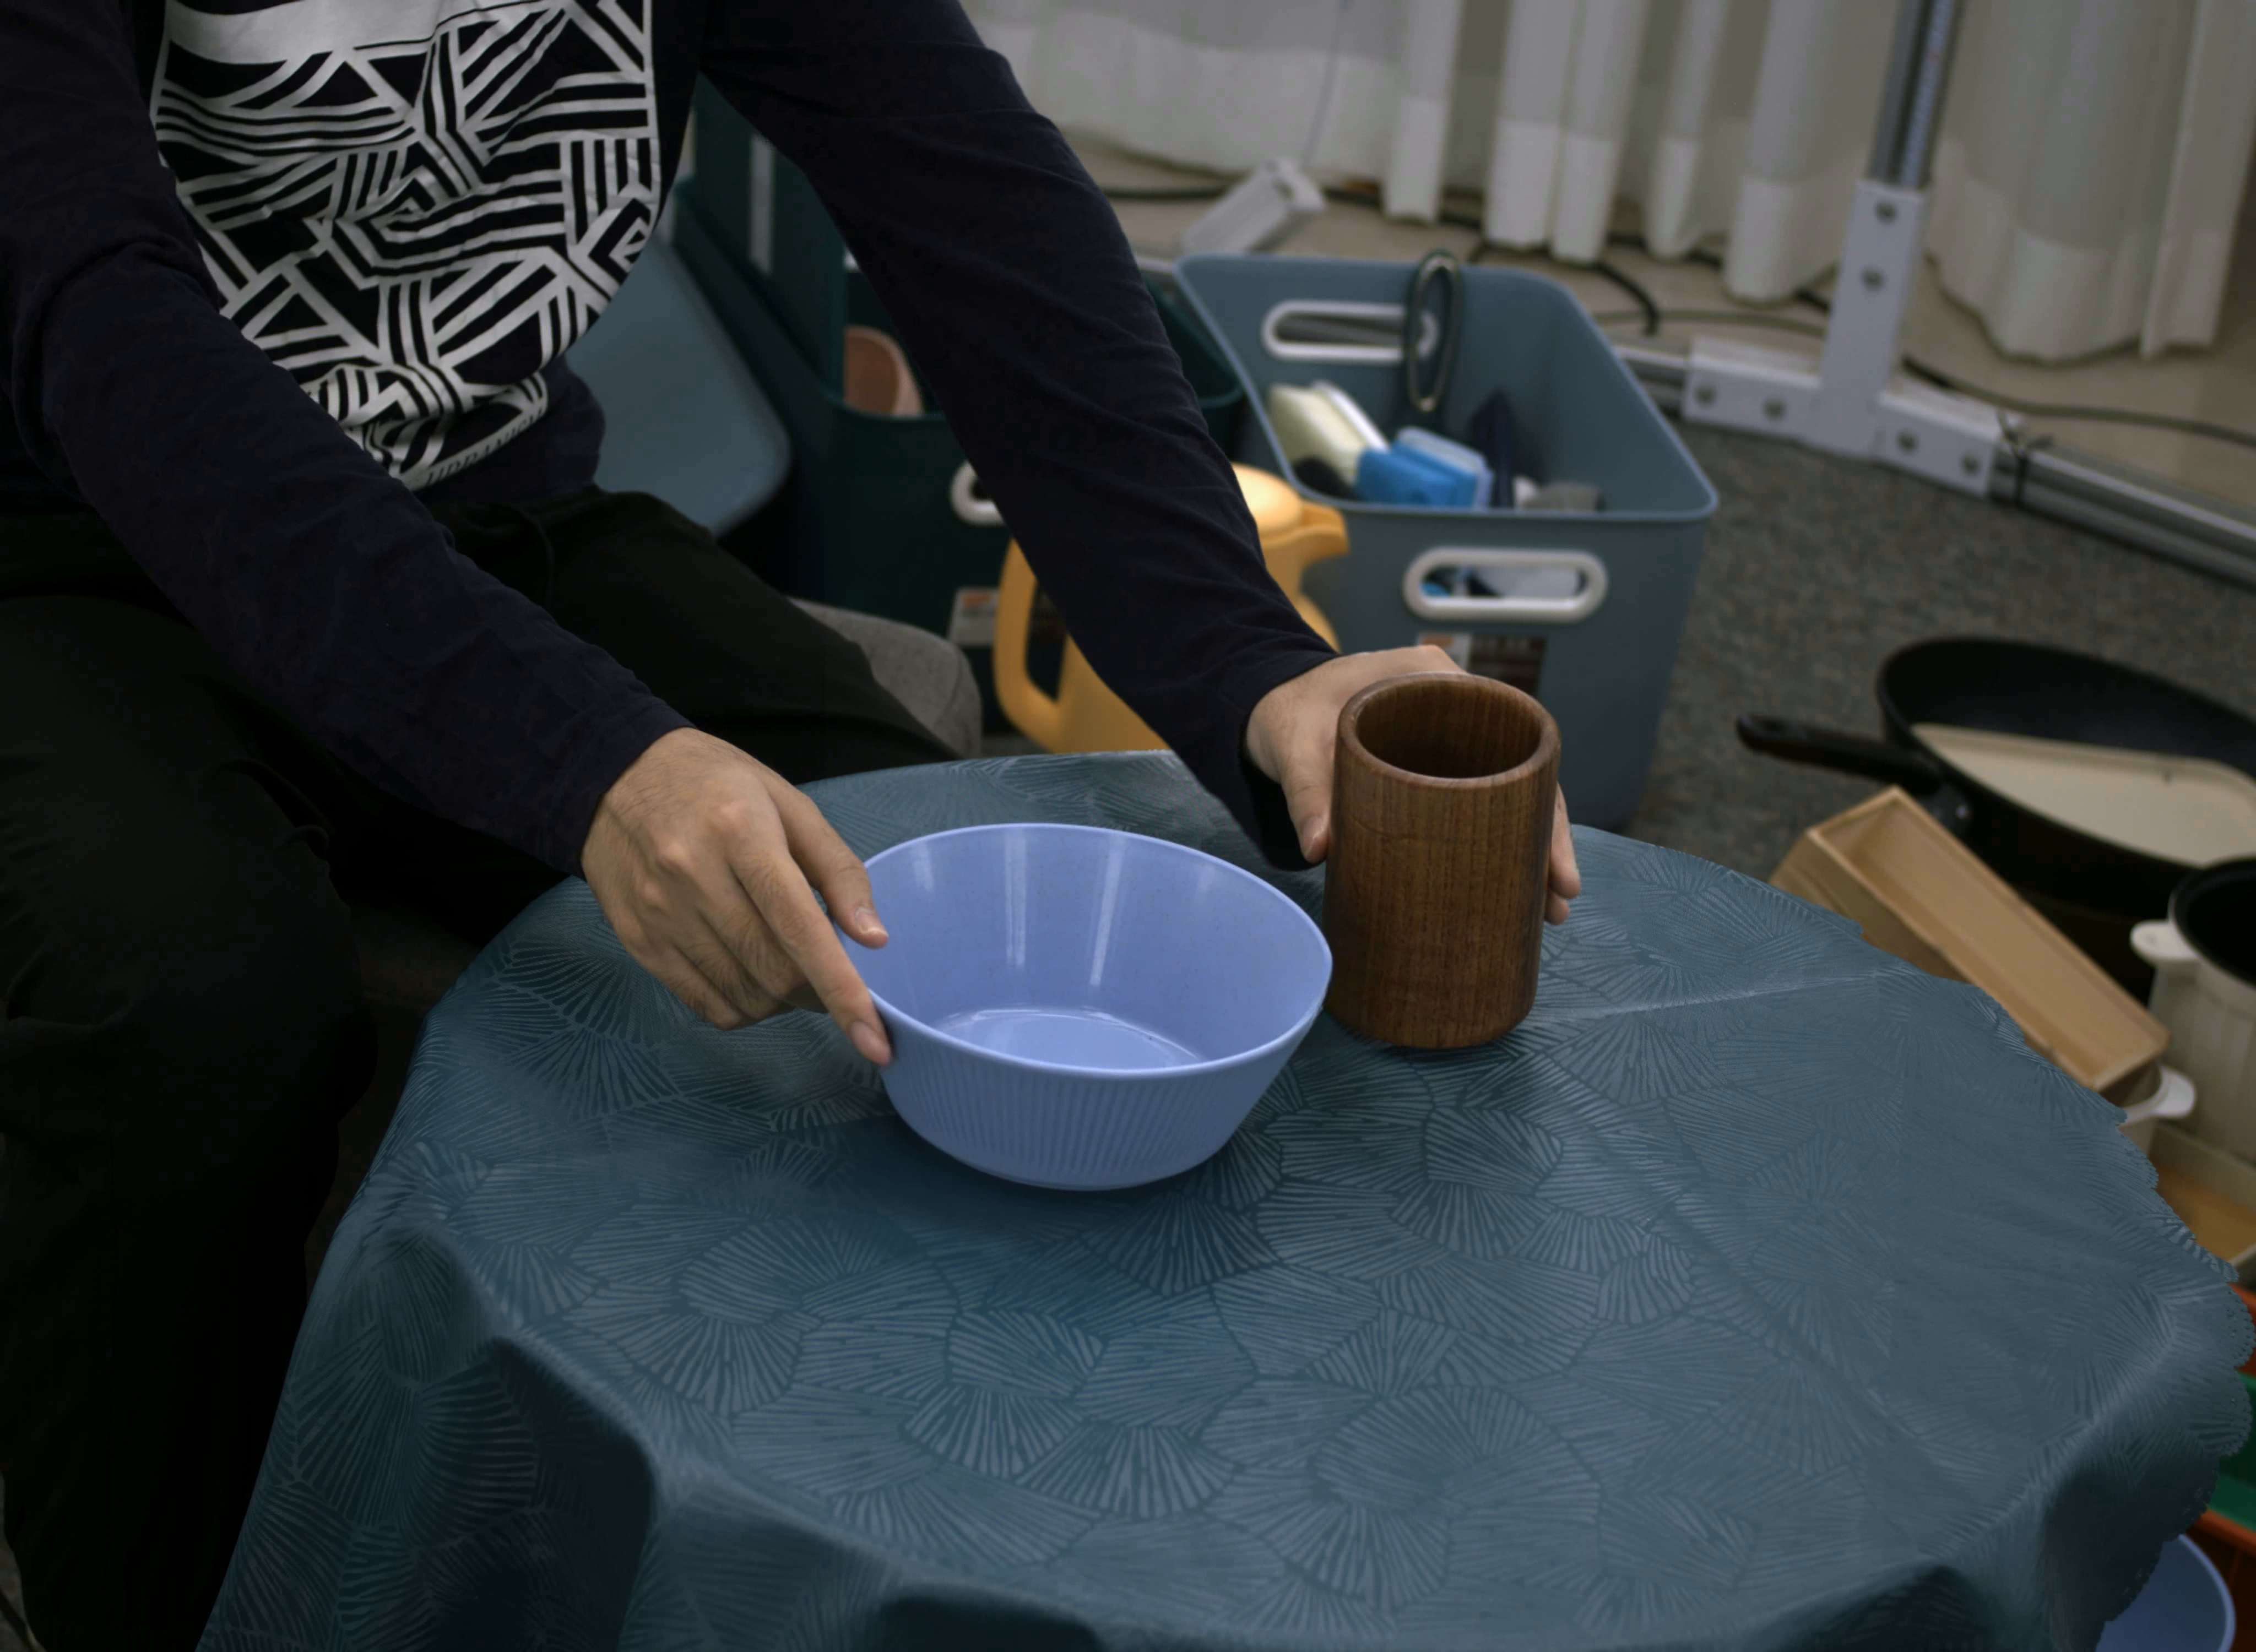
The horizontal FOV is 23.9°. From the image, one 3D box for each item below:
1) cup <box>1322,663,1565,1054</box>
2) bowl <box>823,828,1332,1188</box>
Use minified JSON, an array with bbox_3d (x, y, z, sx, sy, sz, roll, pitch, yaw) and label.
[{"bbox_3d":[0.111,0.012,1.901,0.087,0.118,0.088,2,29,-1],"label":"cup"},{"bbox_3d":[-0.020,0.068,1.834,0.175,0.070,0.177,5,26,-3],"label":"bowl"}]
